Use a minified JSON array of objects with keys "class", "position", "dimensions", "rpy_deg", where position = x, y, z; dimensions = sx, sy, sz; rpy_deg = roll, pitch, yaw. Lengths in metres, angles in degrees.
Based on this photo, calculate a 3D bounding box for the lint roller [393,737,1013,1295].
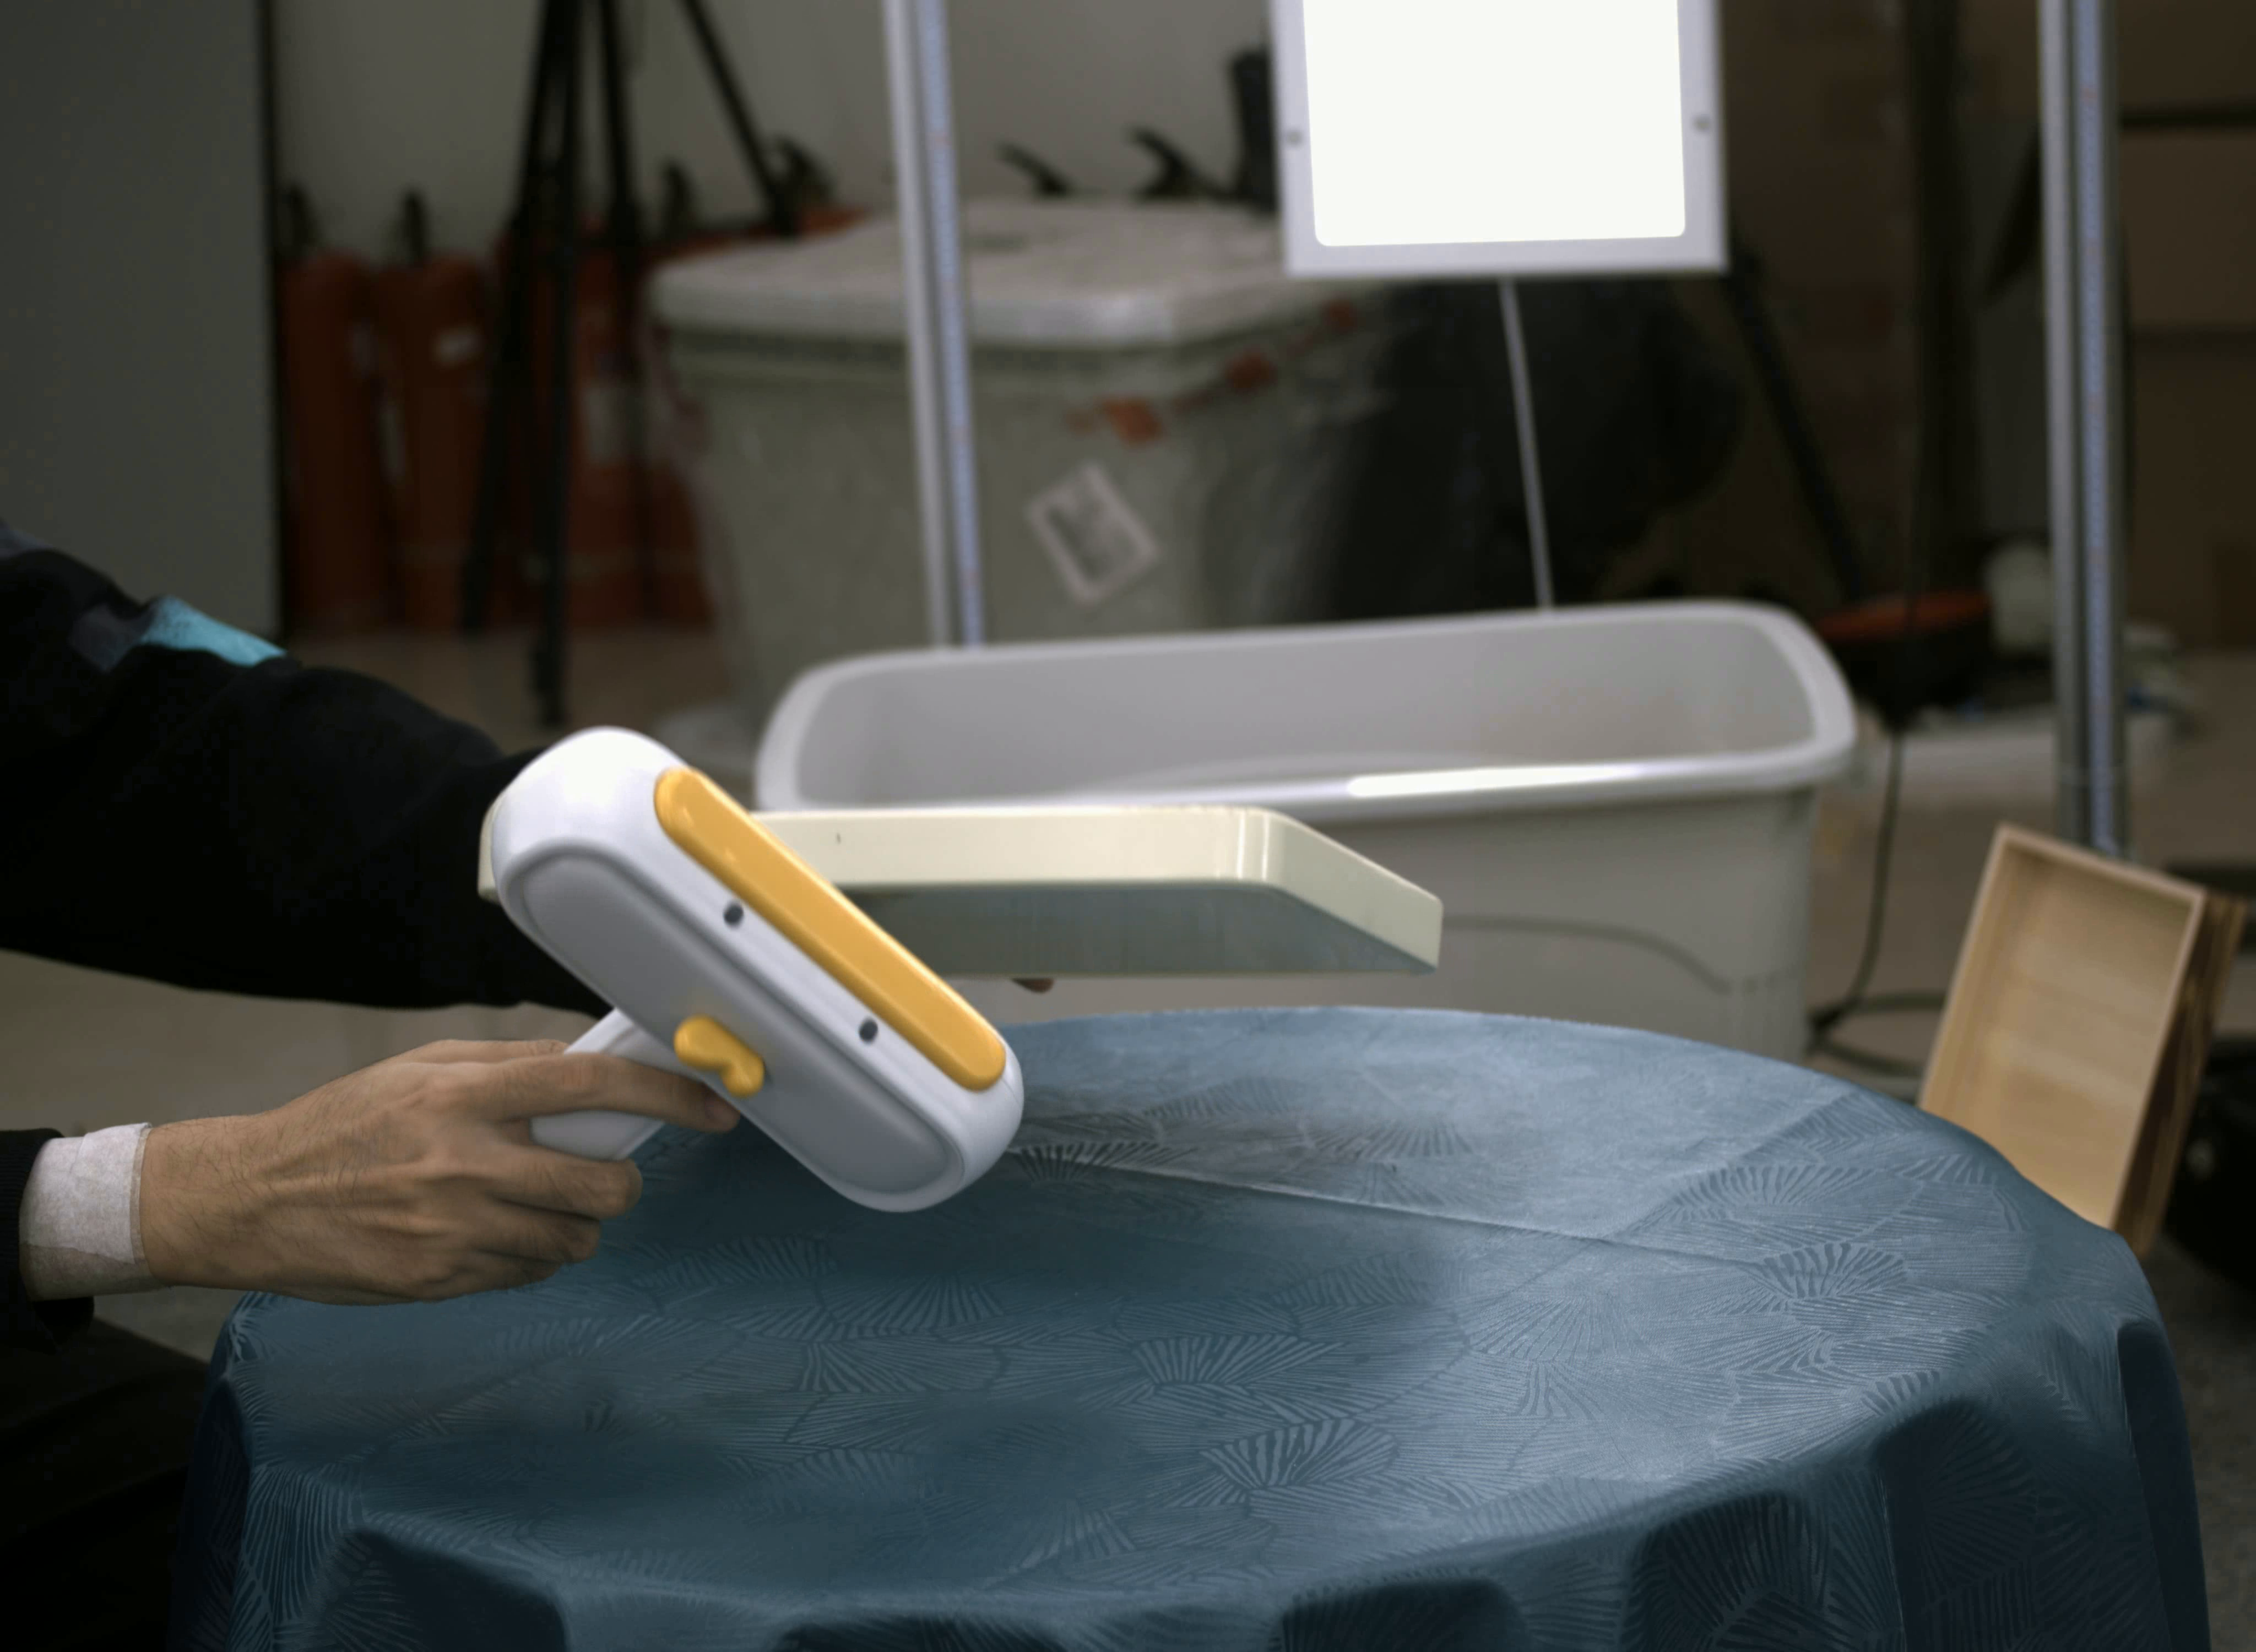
[{"class":"lint roller","position":[-0.157,0.078,1.701],"dimensions":[0.196,0.190,0.074],"rpy_deg":[-36,31,36]}]

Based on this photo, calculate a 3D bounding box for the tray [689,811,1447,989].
[{"class":"tray","position":[-0.056,0.029,1.920],"dimensions":[0.305,0.027,0.188],"rpy_deg":[-1,-12,25]}]
